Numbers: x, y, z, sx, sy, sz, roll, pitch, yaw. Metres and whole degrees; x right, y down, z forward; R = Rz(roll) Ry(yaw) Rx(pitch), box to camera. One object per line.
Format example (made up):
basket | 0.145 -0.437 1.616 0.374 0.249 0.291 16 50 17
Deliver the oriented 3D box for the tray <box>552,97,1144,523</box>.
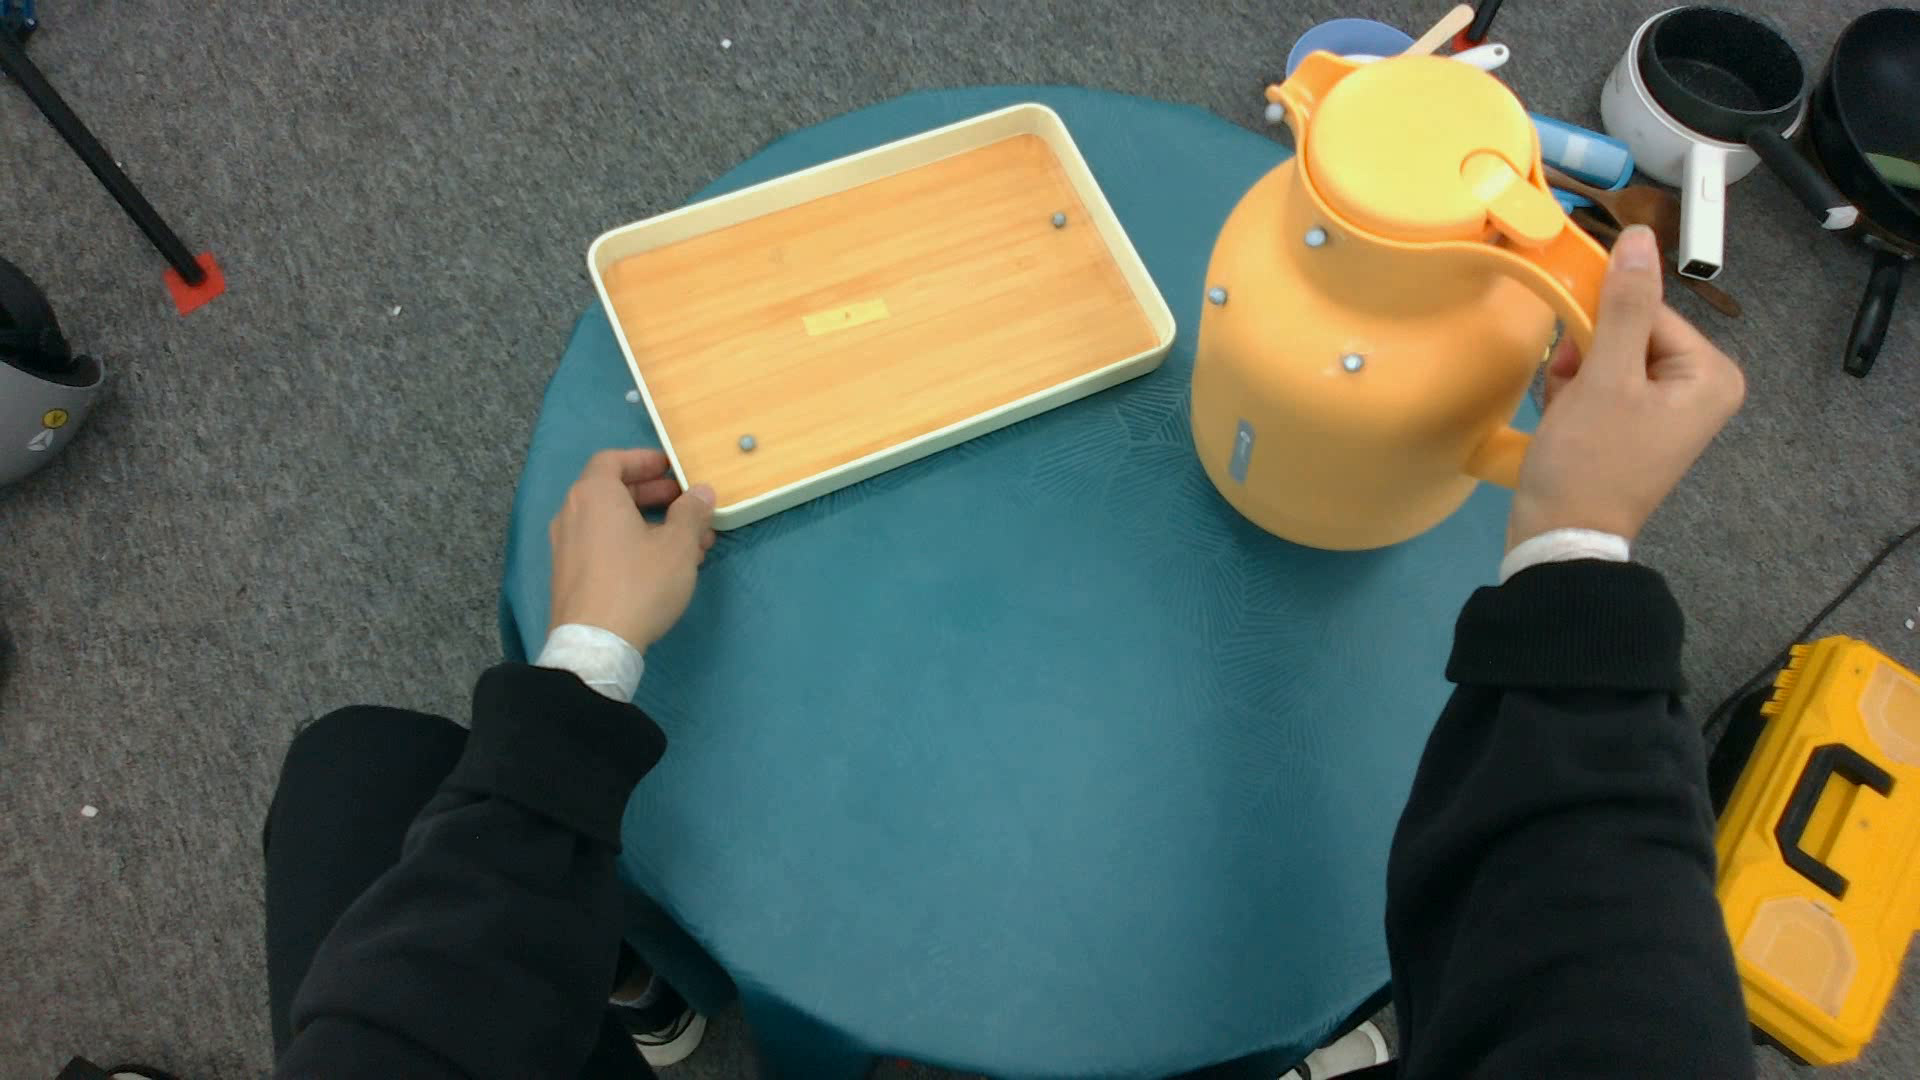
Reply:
tray | -0.062 -0.141 0.799 0.301 0.027 0.192 -22 71 -15

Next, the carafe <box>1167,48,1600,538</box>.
carafe | 0.197 -0.103 0.669 0.164 0.259 0.202 -40 67 -10
